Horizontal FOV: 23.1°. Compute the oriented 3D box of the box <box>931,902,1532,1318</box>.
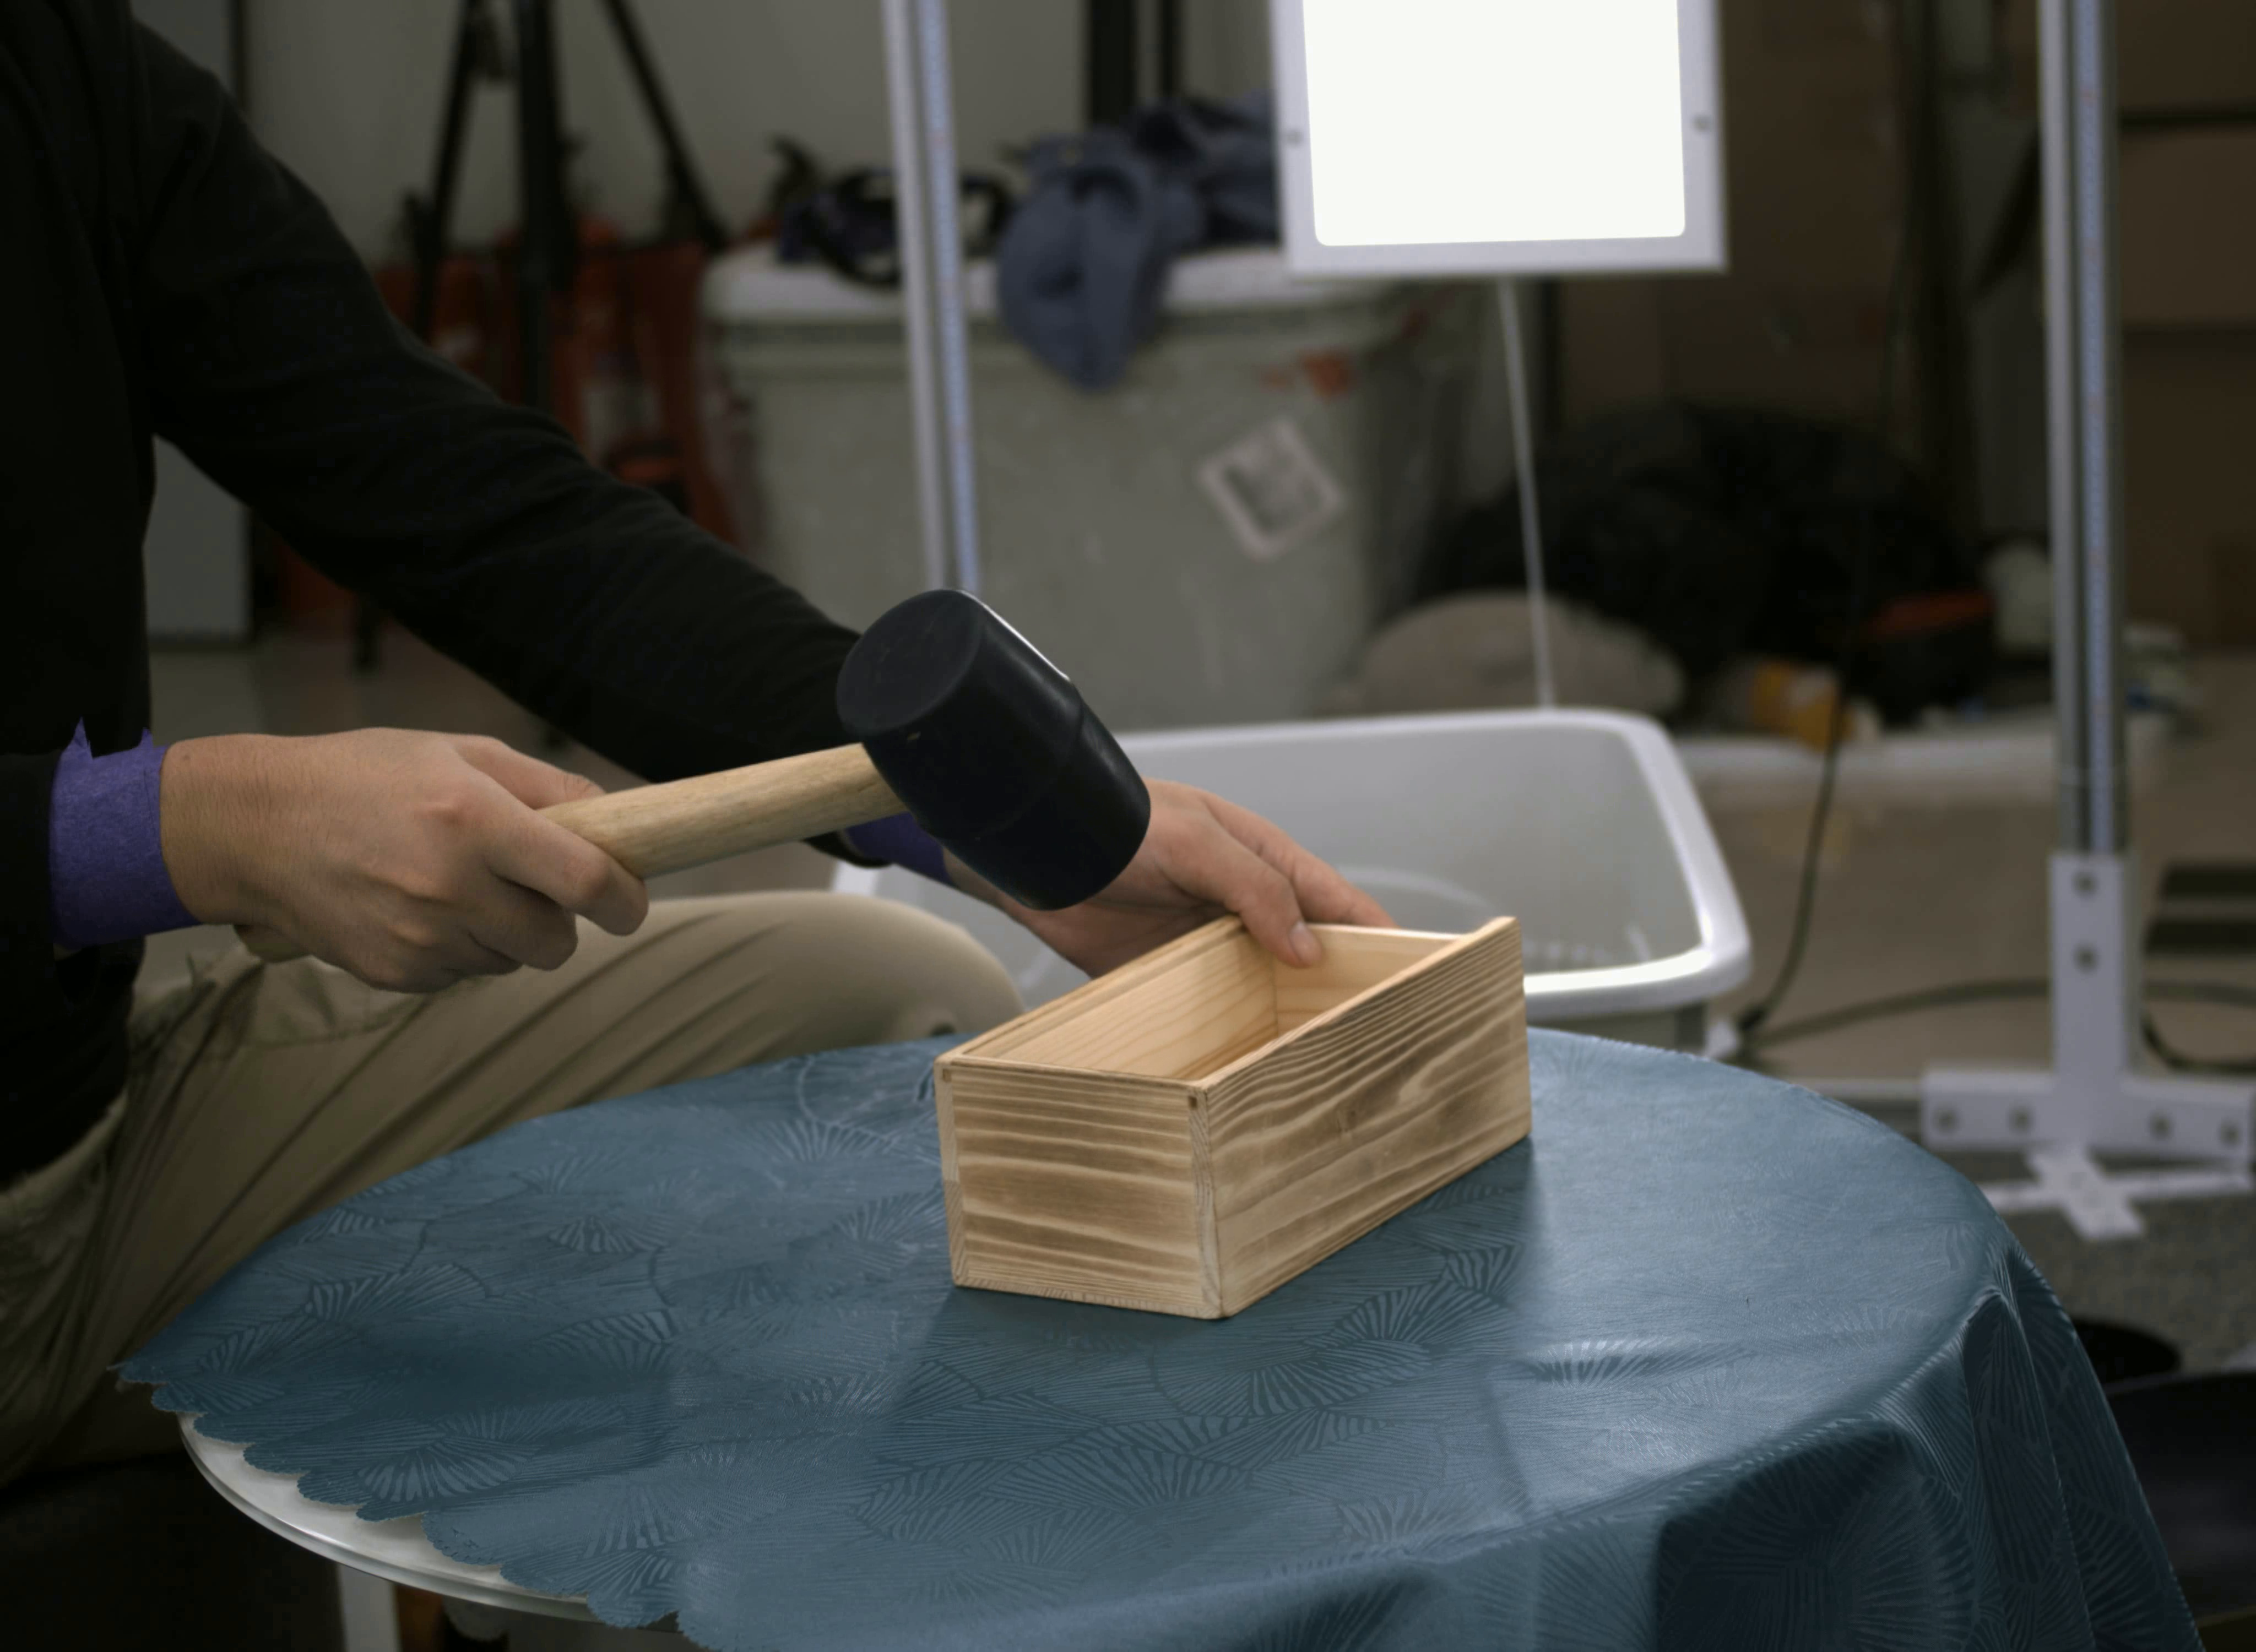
[{"bbox_3d":[0.039,0.092,1.858,0.109,0.080,0.206,4,16,33],"label":"box"}]

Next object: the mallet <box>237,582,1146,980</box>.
[{"bbox_3d":[-0.153,-0.002,1.781,0.346,0.101,0.063,-11,41,37],"label":"mallet"}]
